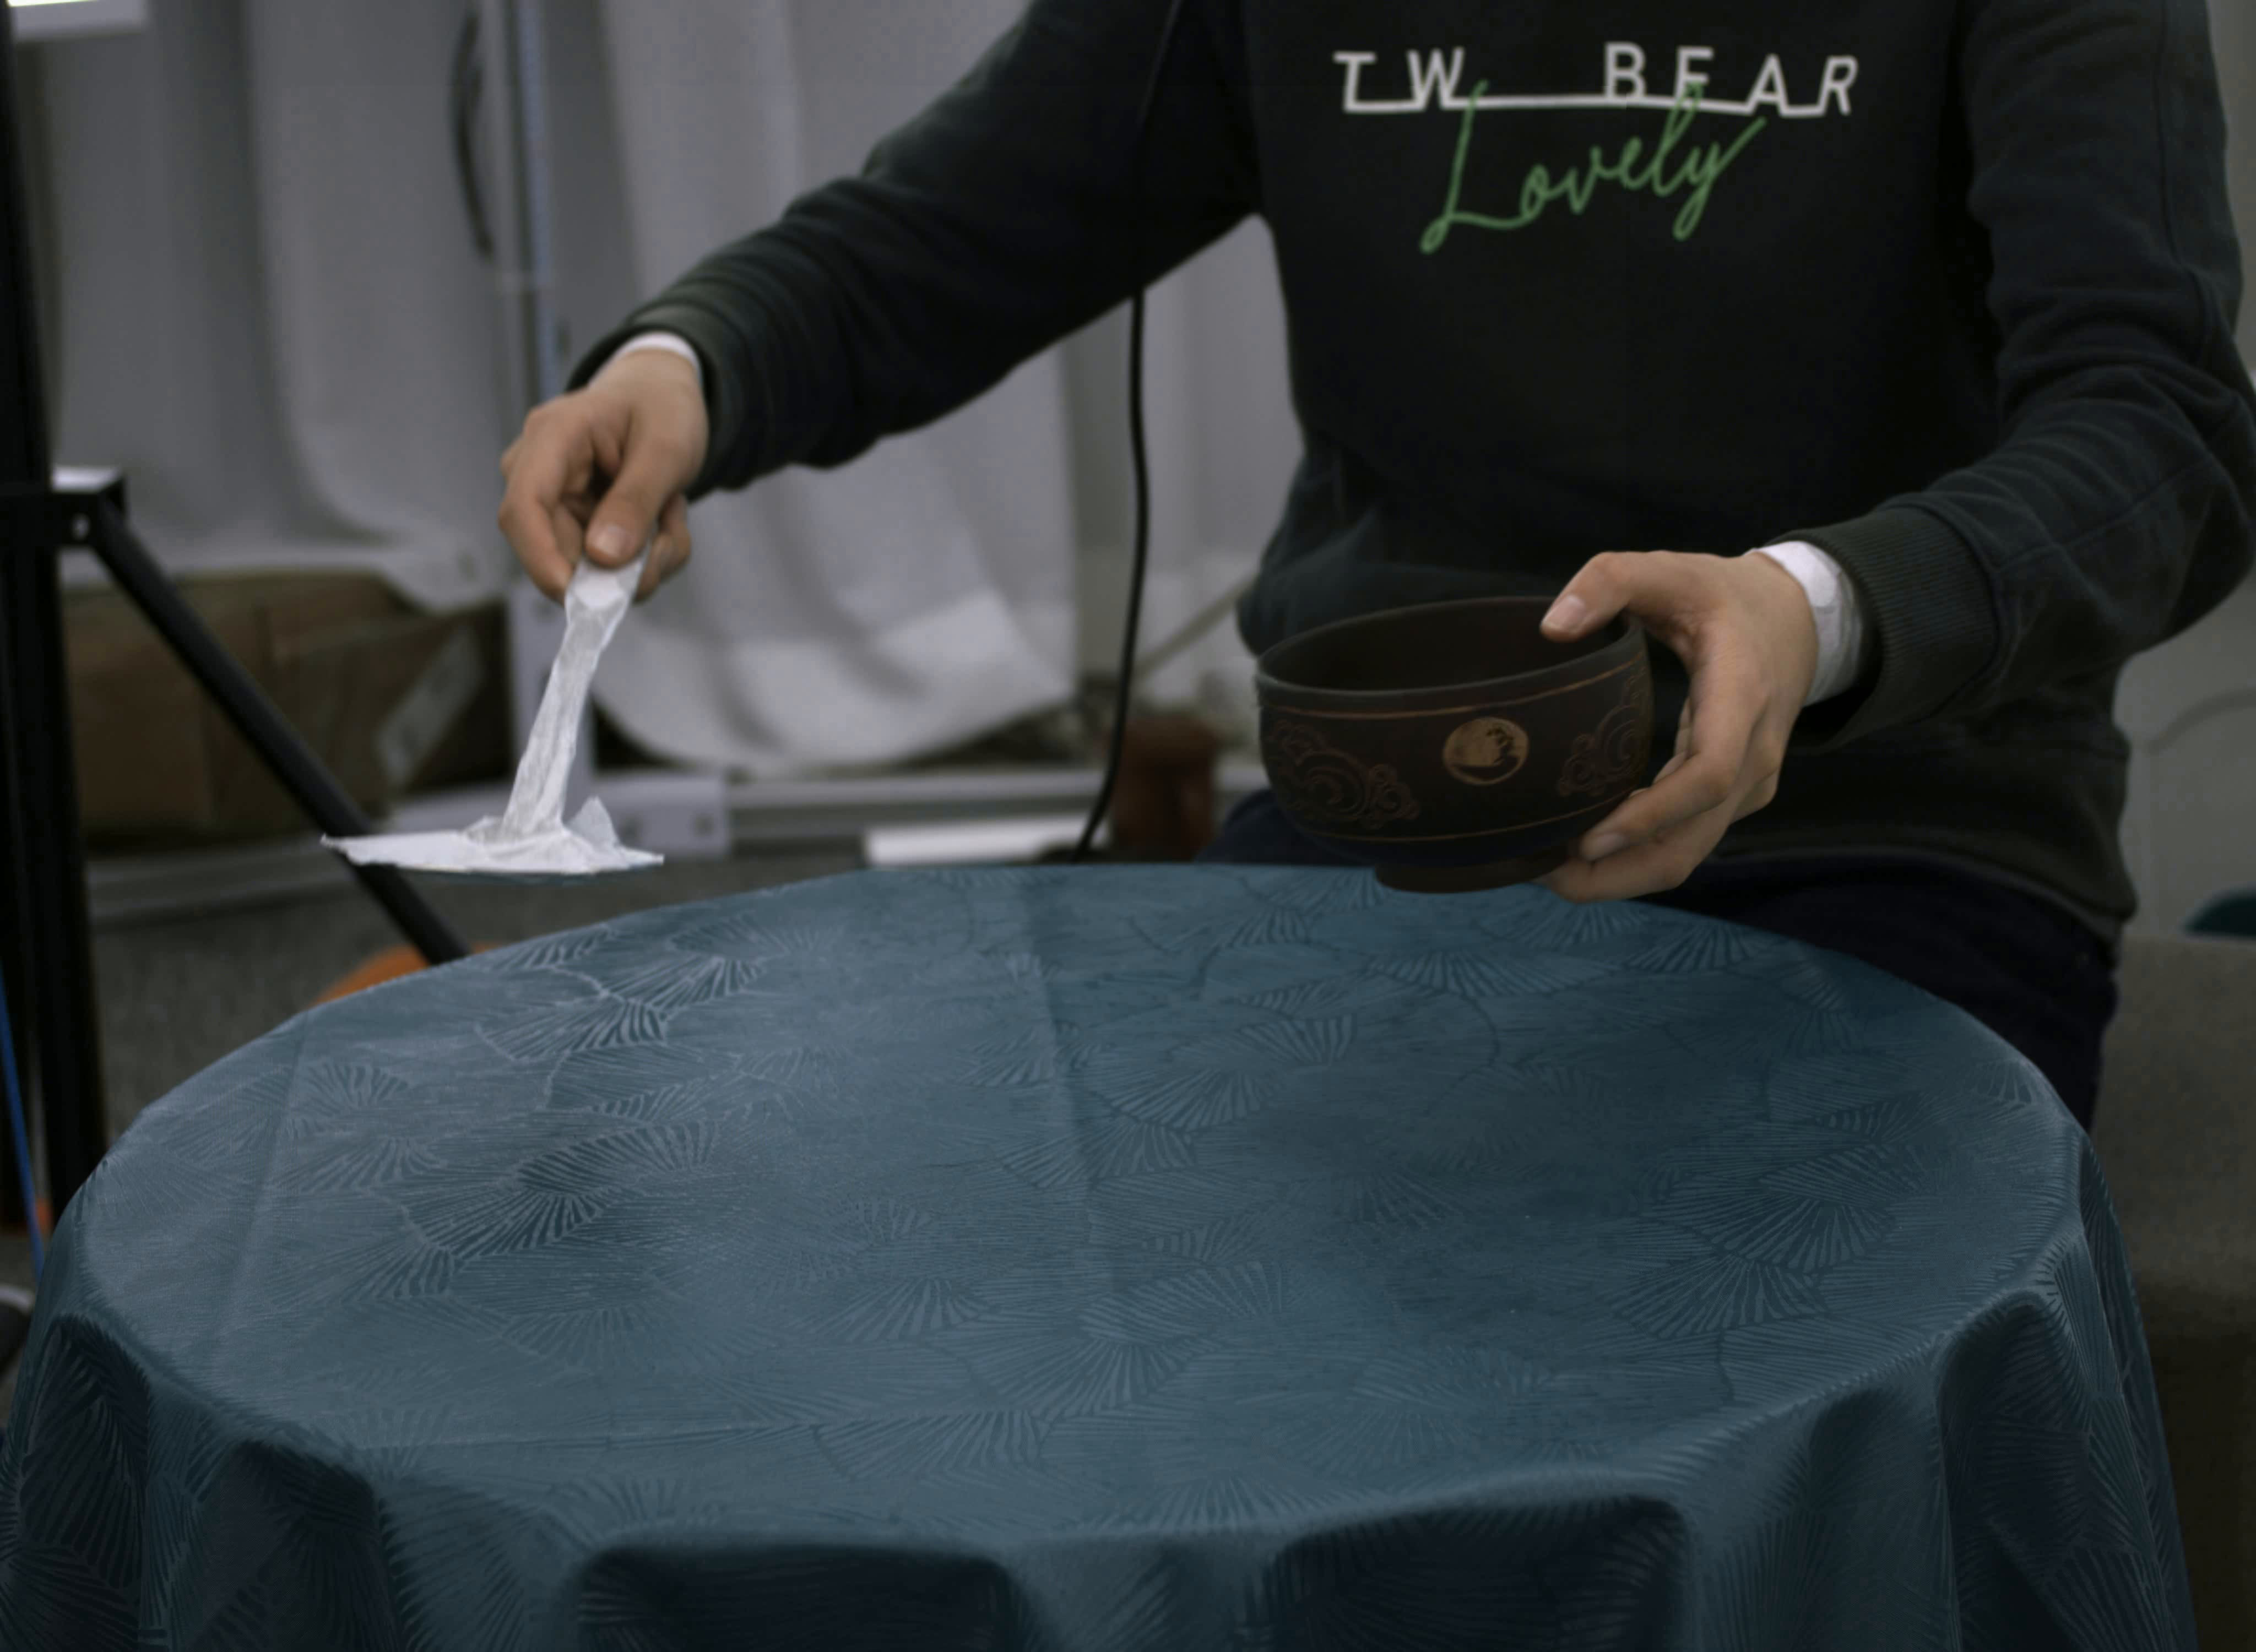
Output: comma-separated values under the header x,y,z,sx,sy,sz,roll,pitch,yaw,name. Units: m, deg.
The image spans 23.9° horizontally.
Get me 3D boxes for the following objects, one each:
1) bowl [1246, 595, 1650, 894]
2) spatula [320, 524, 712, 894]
x,y,z,sx,sy,sz,roll,pitch,yaw,name
0.095,-0.021,1.549,0.117,0.070,0.118,-6,14,0,bowl
-0.170,-0.045,1.681,0.098,0.044,0.366,1,25,5,spatula
